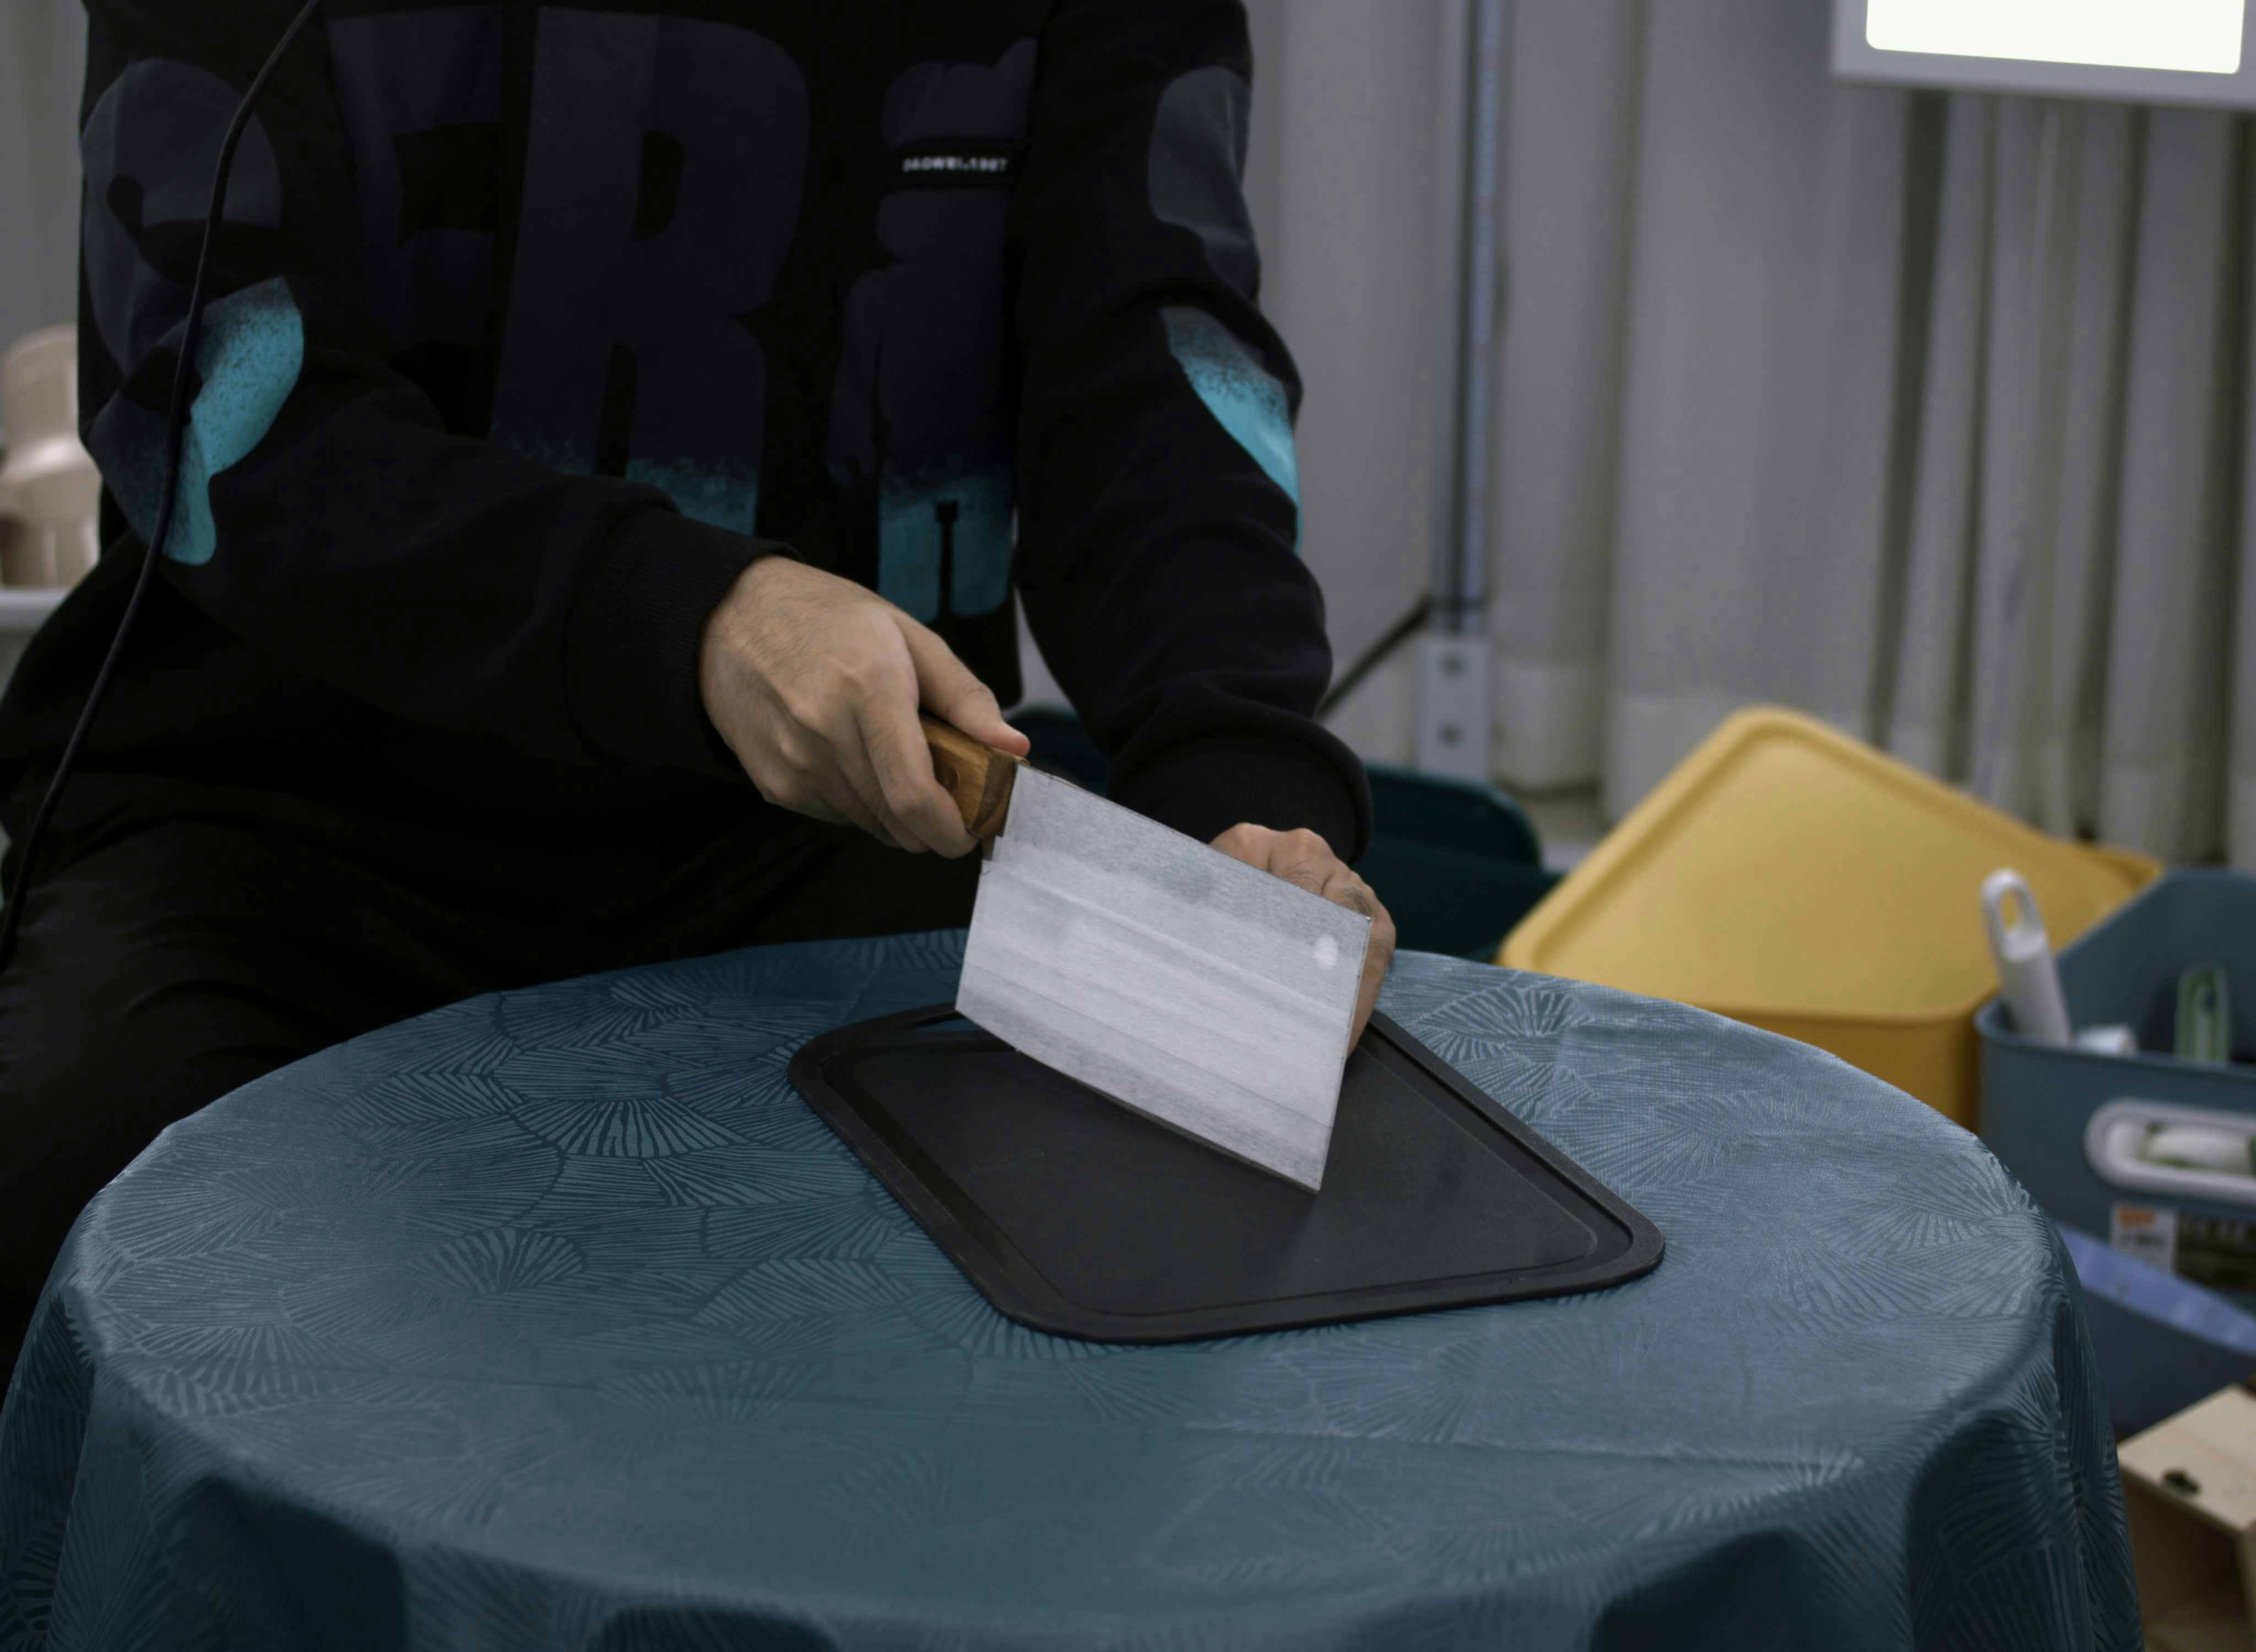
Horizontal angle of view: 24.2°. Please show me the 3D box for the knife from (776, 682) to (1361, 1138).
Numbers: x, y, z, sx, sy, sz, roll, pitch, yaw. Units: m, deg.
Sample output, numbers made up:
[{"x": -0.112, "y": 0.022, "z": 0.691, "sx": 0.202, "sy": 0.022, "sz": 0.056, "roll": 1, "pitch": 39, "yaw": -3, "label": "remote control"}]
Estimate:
[{"x": -0.027, "y": 0.027, "z": 1.713, "sx": 0.021, "sy": 0.093, "sz": 0.301, "roll": -1, "pitch": 17, "yaw": -40, "label": "knife"}]

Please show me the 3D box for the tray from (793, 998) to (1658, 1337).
[{"x": 0.020, "y": 0.097, "z": 1.663, "sx": 0.211, "sy": 0.010, "sz": 0.322, "roll": -5, "pitch": 17, "yaw": -18, "label": "tray"}]
